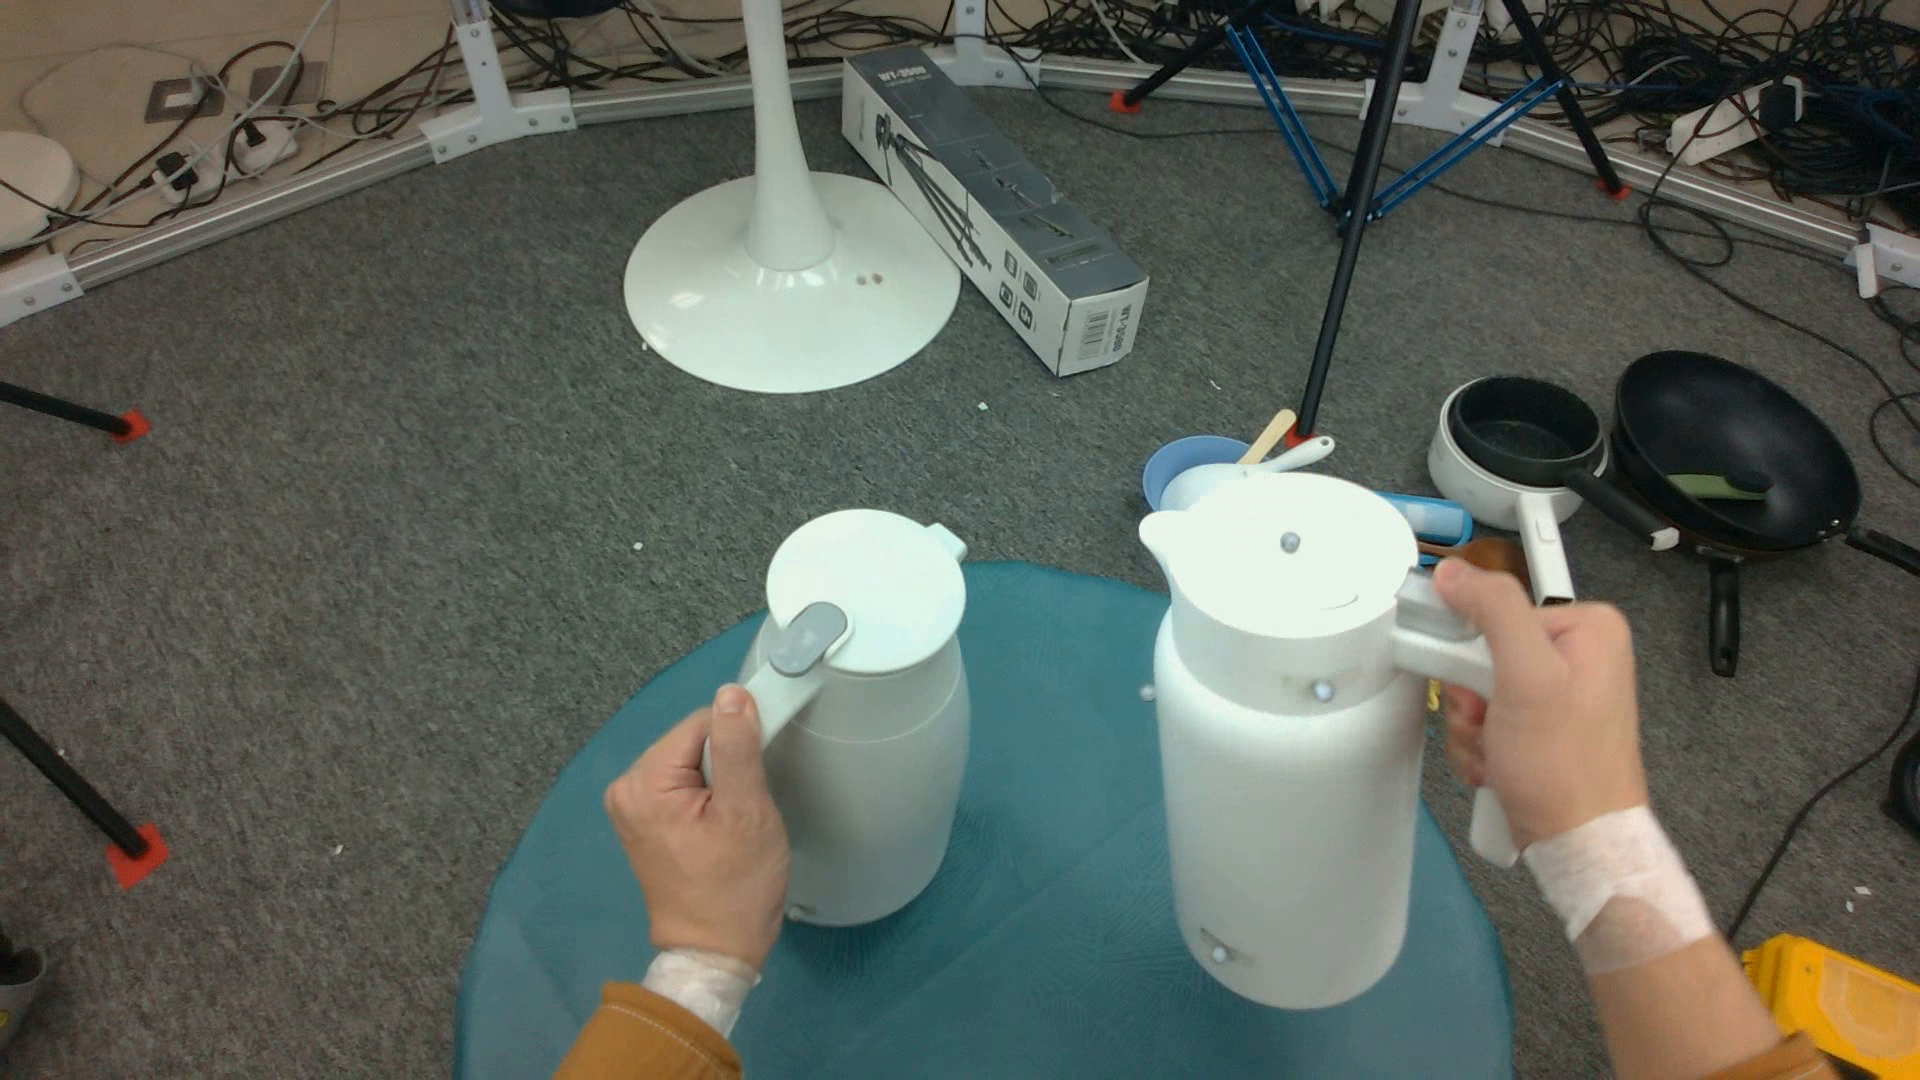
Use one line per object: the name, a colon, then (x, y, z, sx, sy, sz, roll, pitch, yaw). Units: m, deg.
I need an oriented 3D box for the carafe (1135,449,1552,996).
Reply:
carafe: (0.168, 0.095, 0.630, 0.172, 0.267, 0.124, 15, 44, 27)

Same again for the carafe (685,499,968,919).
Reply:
carafe: (-0.070, 0.098, 0.706, 0.132, 0.247, 0.168, 38, 57, 19)
